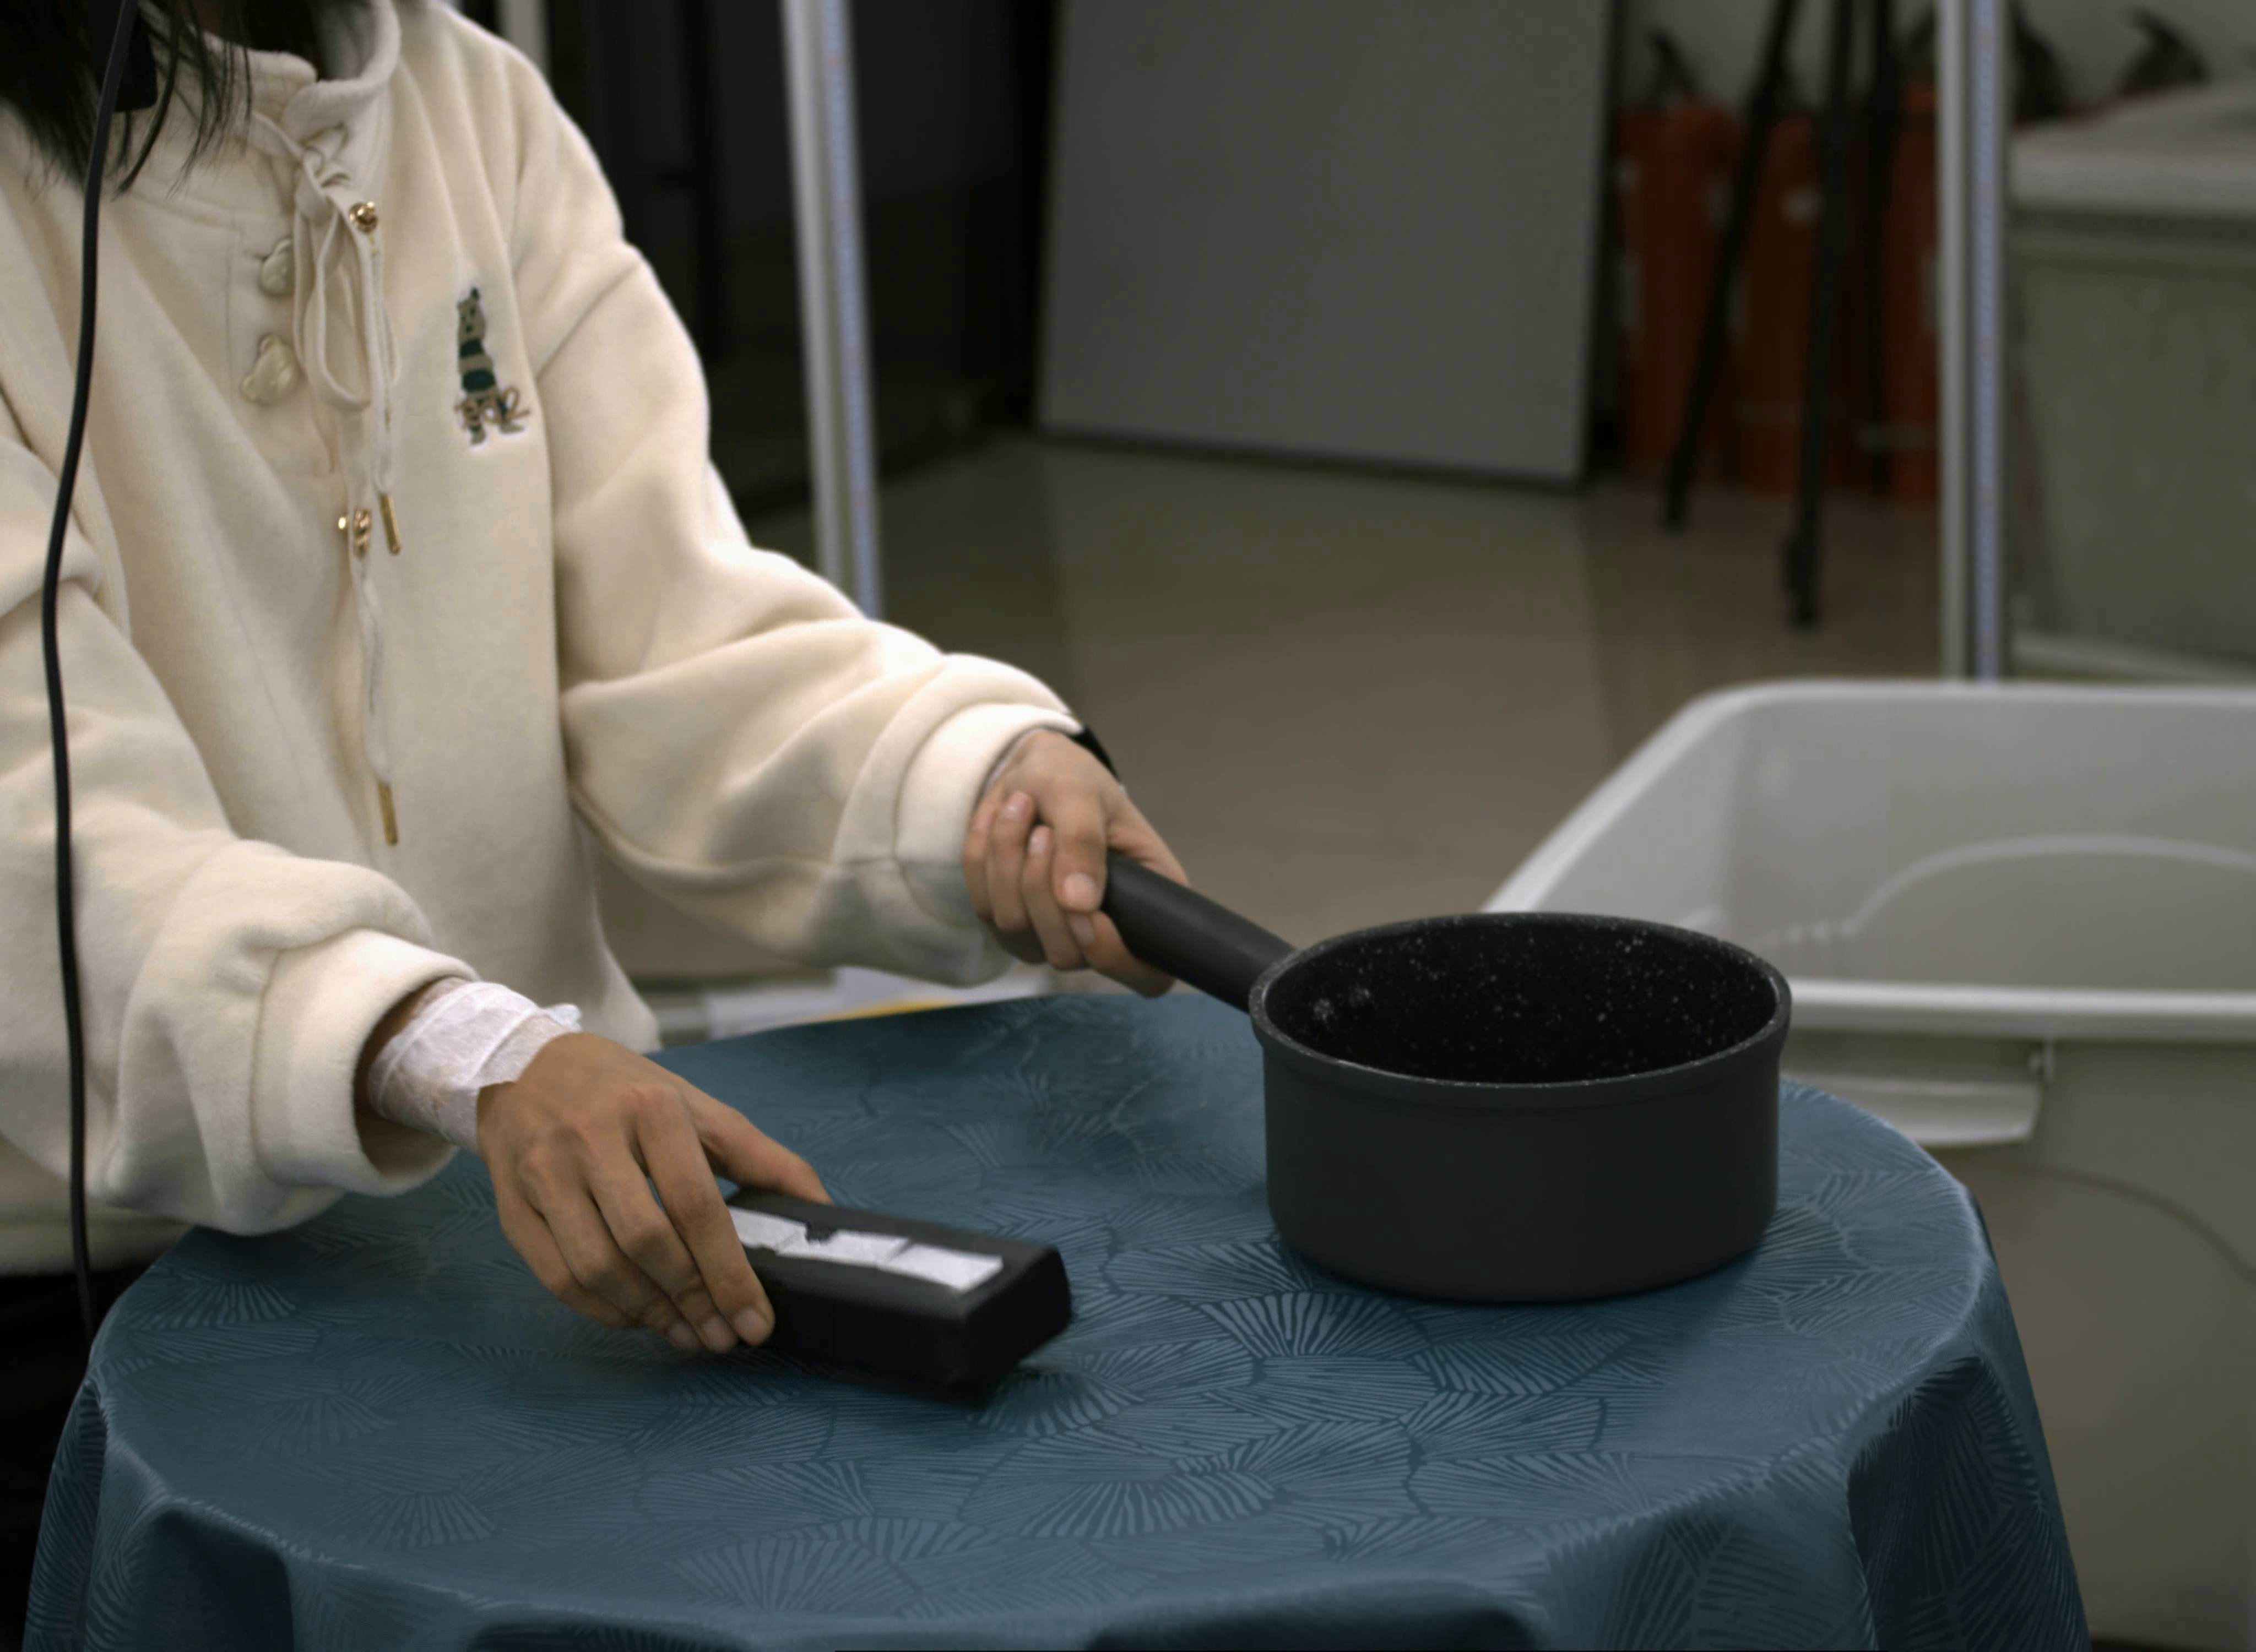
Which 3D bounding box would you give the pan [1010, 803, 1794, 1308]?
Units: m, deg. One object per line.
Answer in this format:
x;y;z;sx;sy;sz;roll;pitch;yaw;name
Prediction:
0.074;0.069;1.754;0.168;0.087;0.332;-15;21;-37;pan

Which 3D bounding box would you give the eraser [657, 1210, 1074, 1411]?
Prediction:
-0.078;0.144;1.619;0.126;0.031;0.052;7;25;37;eraser
